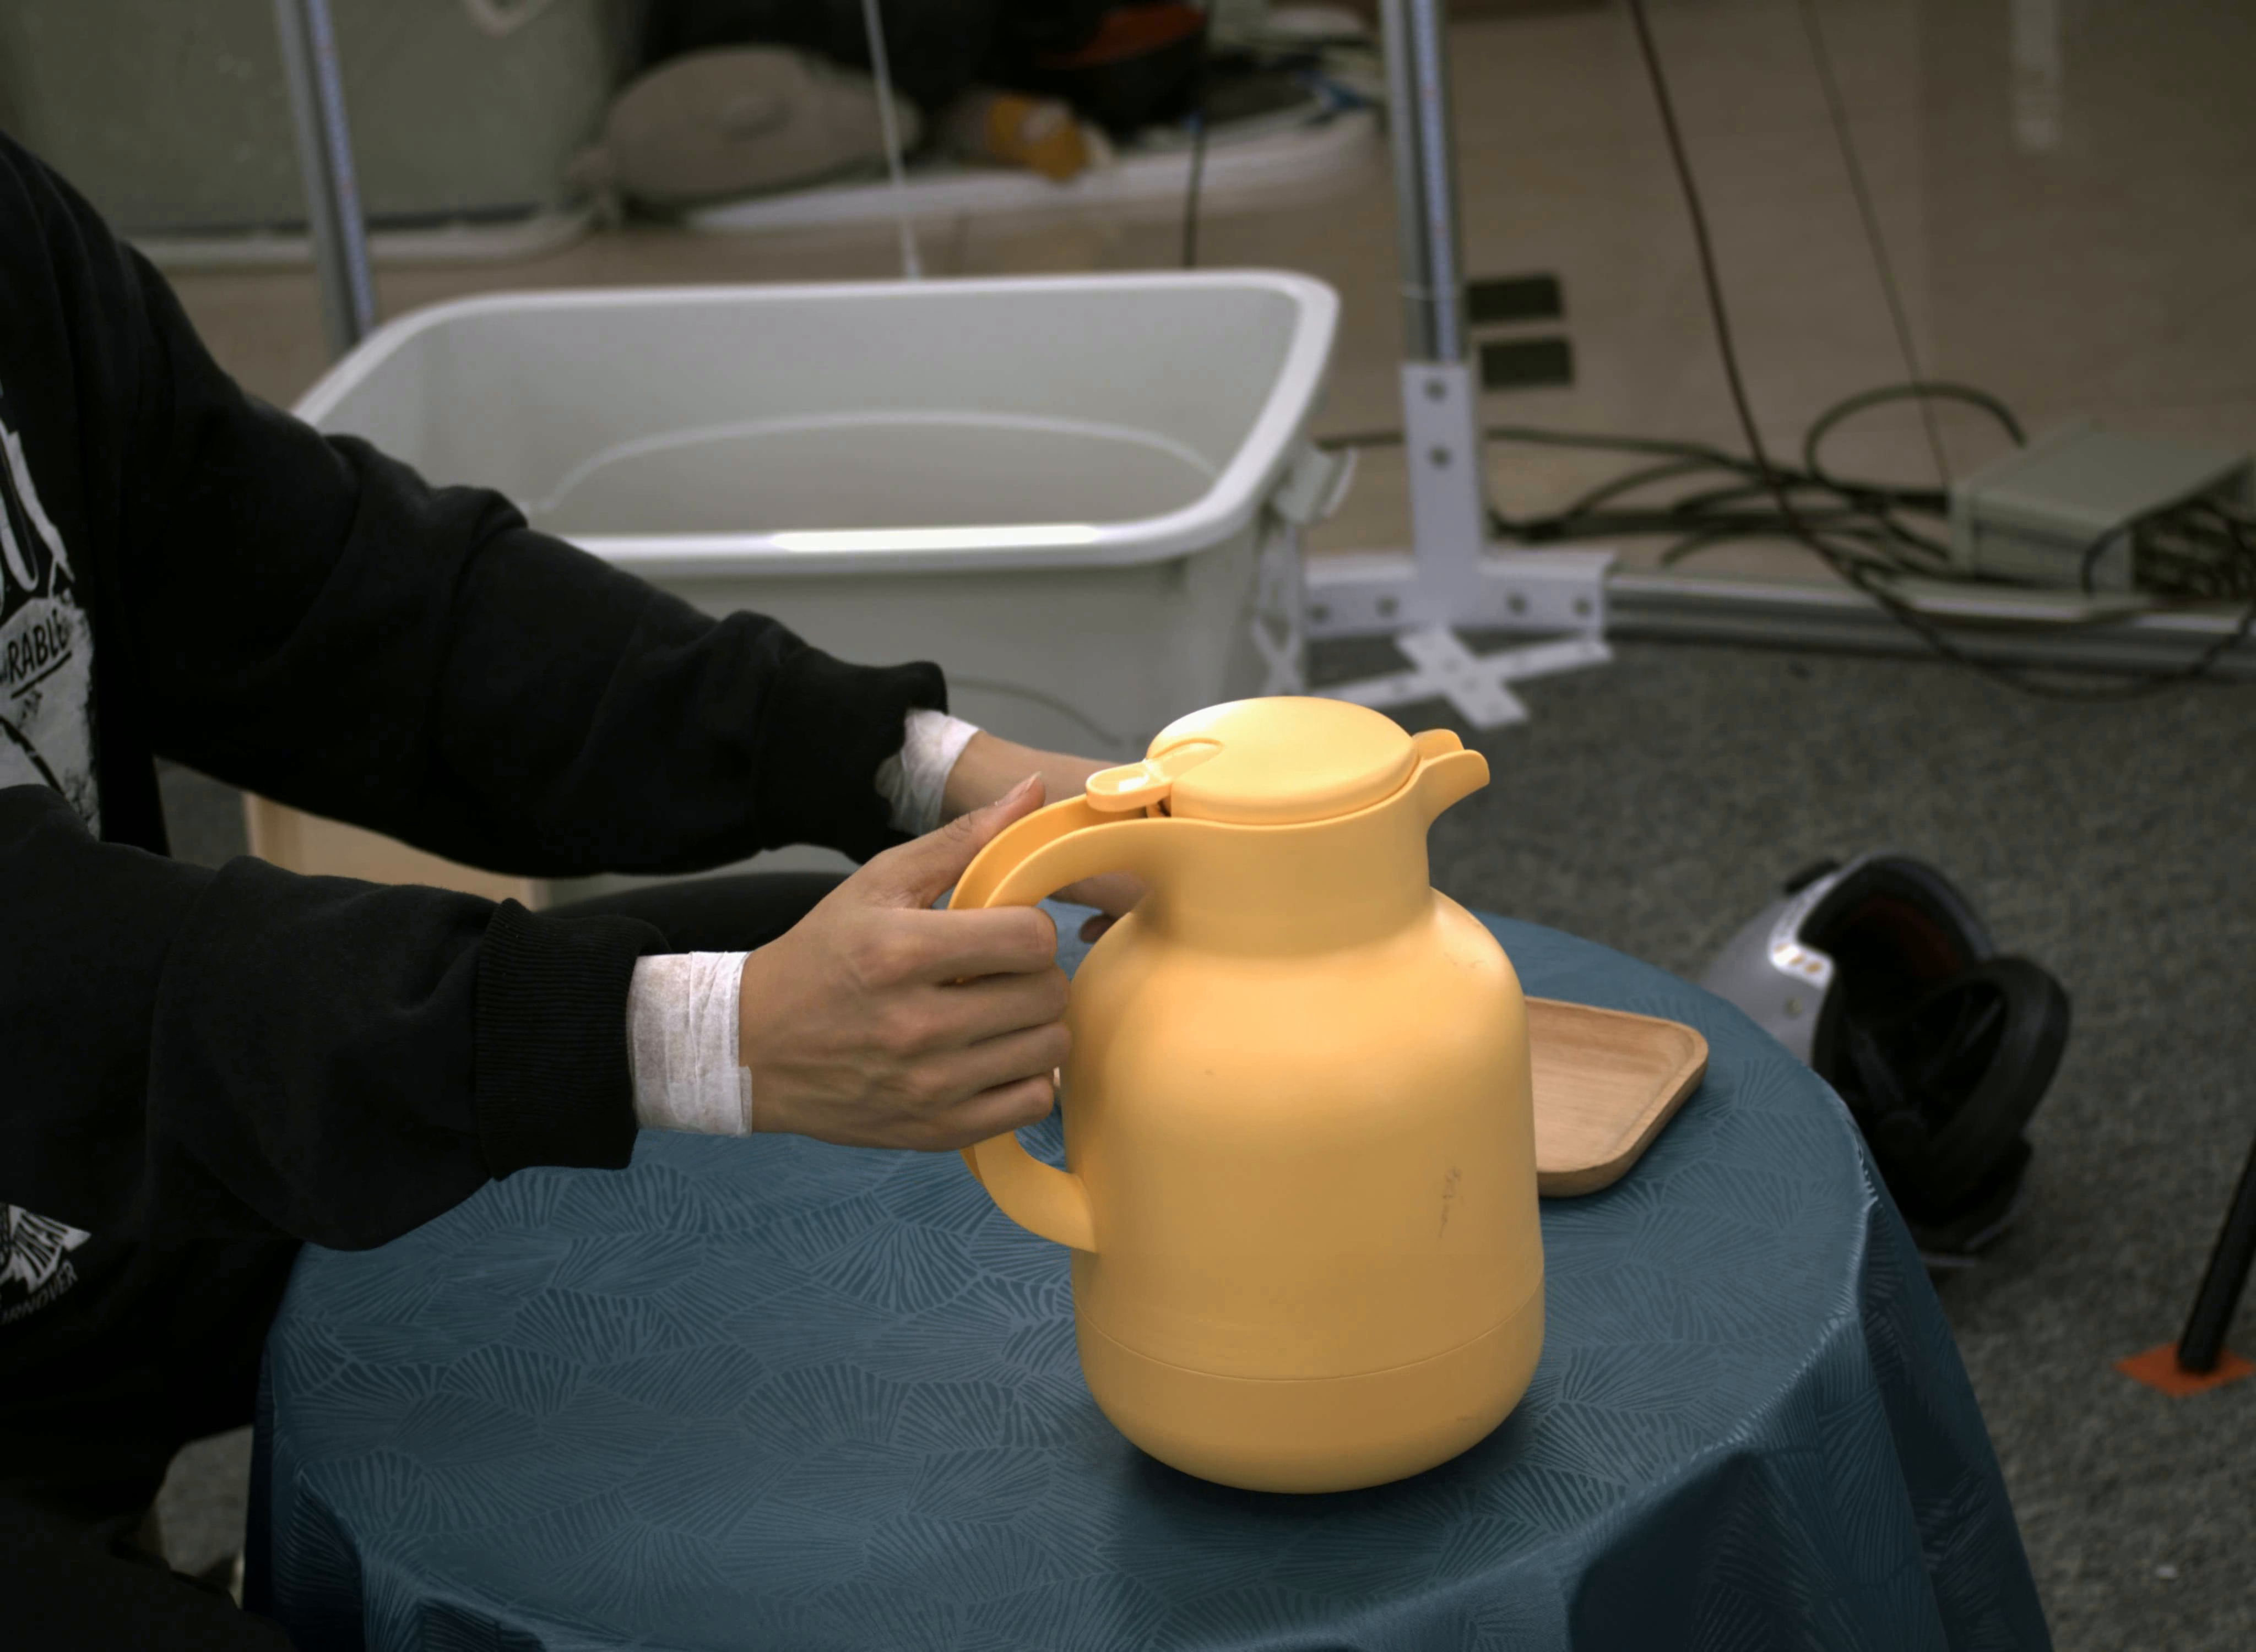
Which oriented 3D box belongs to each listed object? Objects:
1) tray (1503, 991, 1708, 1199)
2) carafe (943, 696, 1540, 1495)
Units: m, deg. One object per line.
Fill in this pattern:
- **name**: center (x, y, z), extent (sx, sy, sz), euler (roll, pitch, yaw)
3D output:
- **tray**: center (0.093, 0.094, 2.197), extent (0.249, 0.023, 0.129), euler (9, 27, 28)
- **carafe**: center (0.038, 0.090, 1.926), extent (0.202, 0.264, 0.161), euler (-10, 24, -15)
